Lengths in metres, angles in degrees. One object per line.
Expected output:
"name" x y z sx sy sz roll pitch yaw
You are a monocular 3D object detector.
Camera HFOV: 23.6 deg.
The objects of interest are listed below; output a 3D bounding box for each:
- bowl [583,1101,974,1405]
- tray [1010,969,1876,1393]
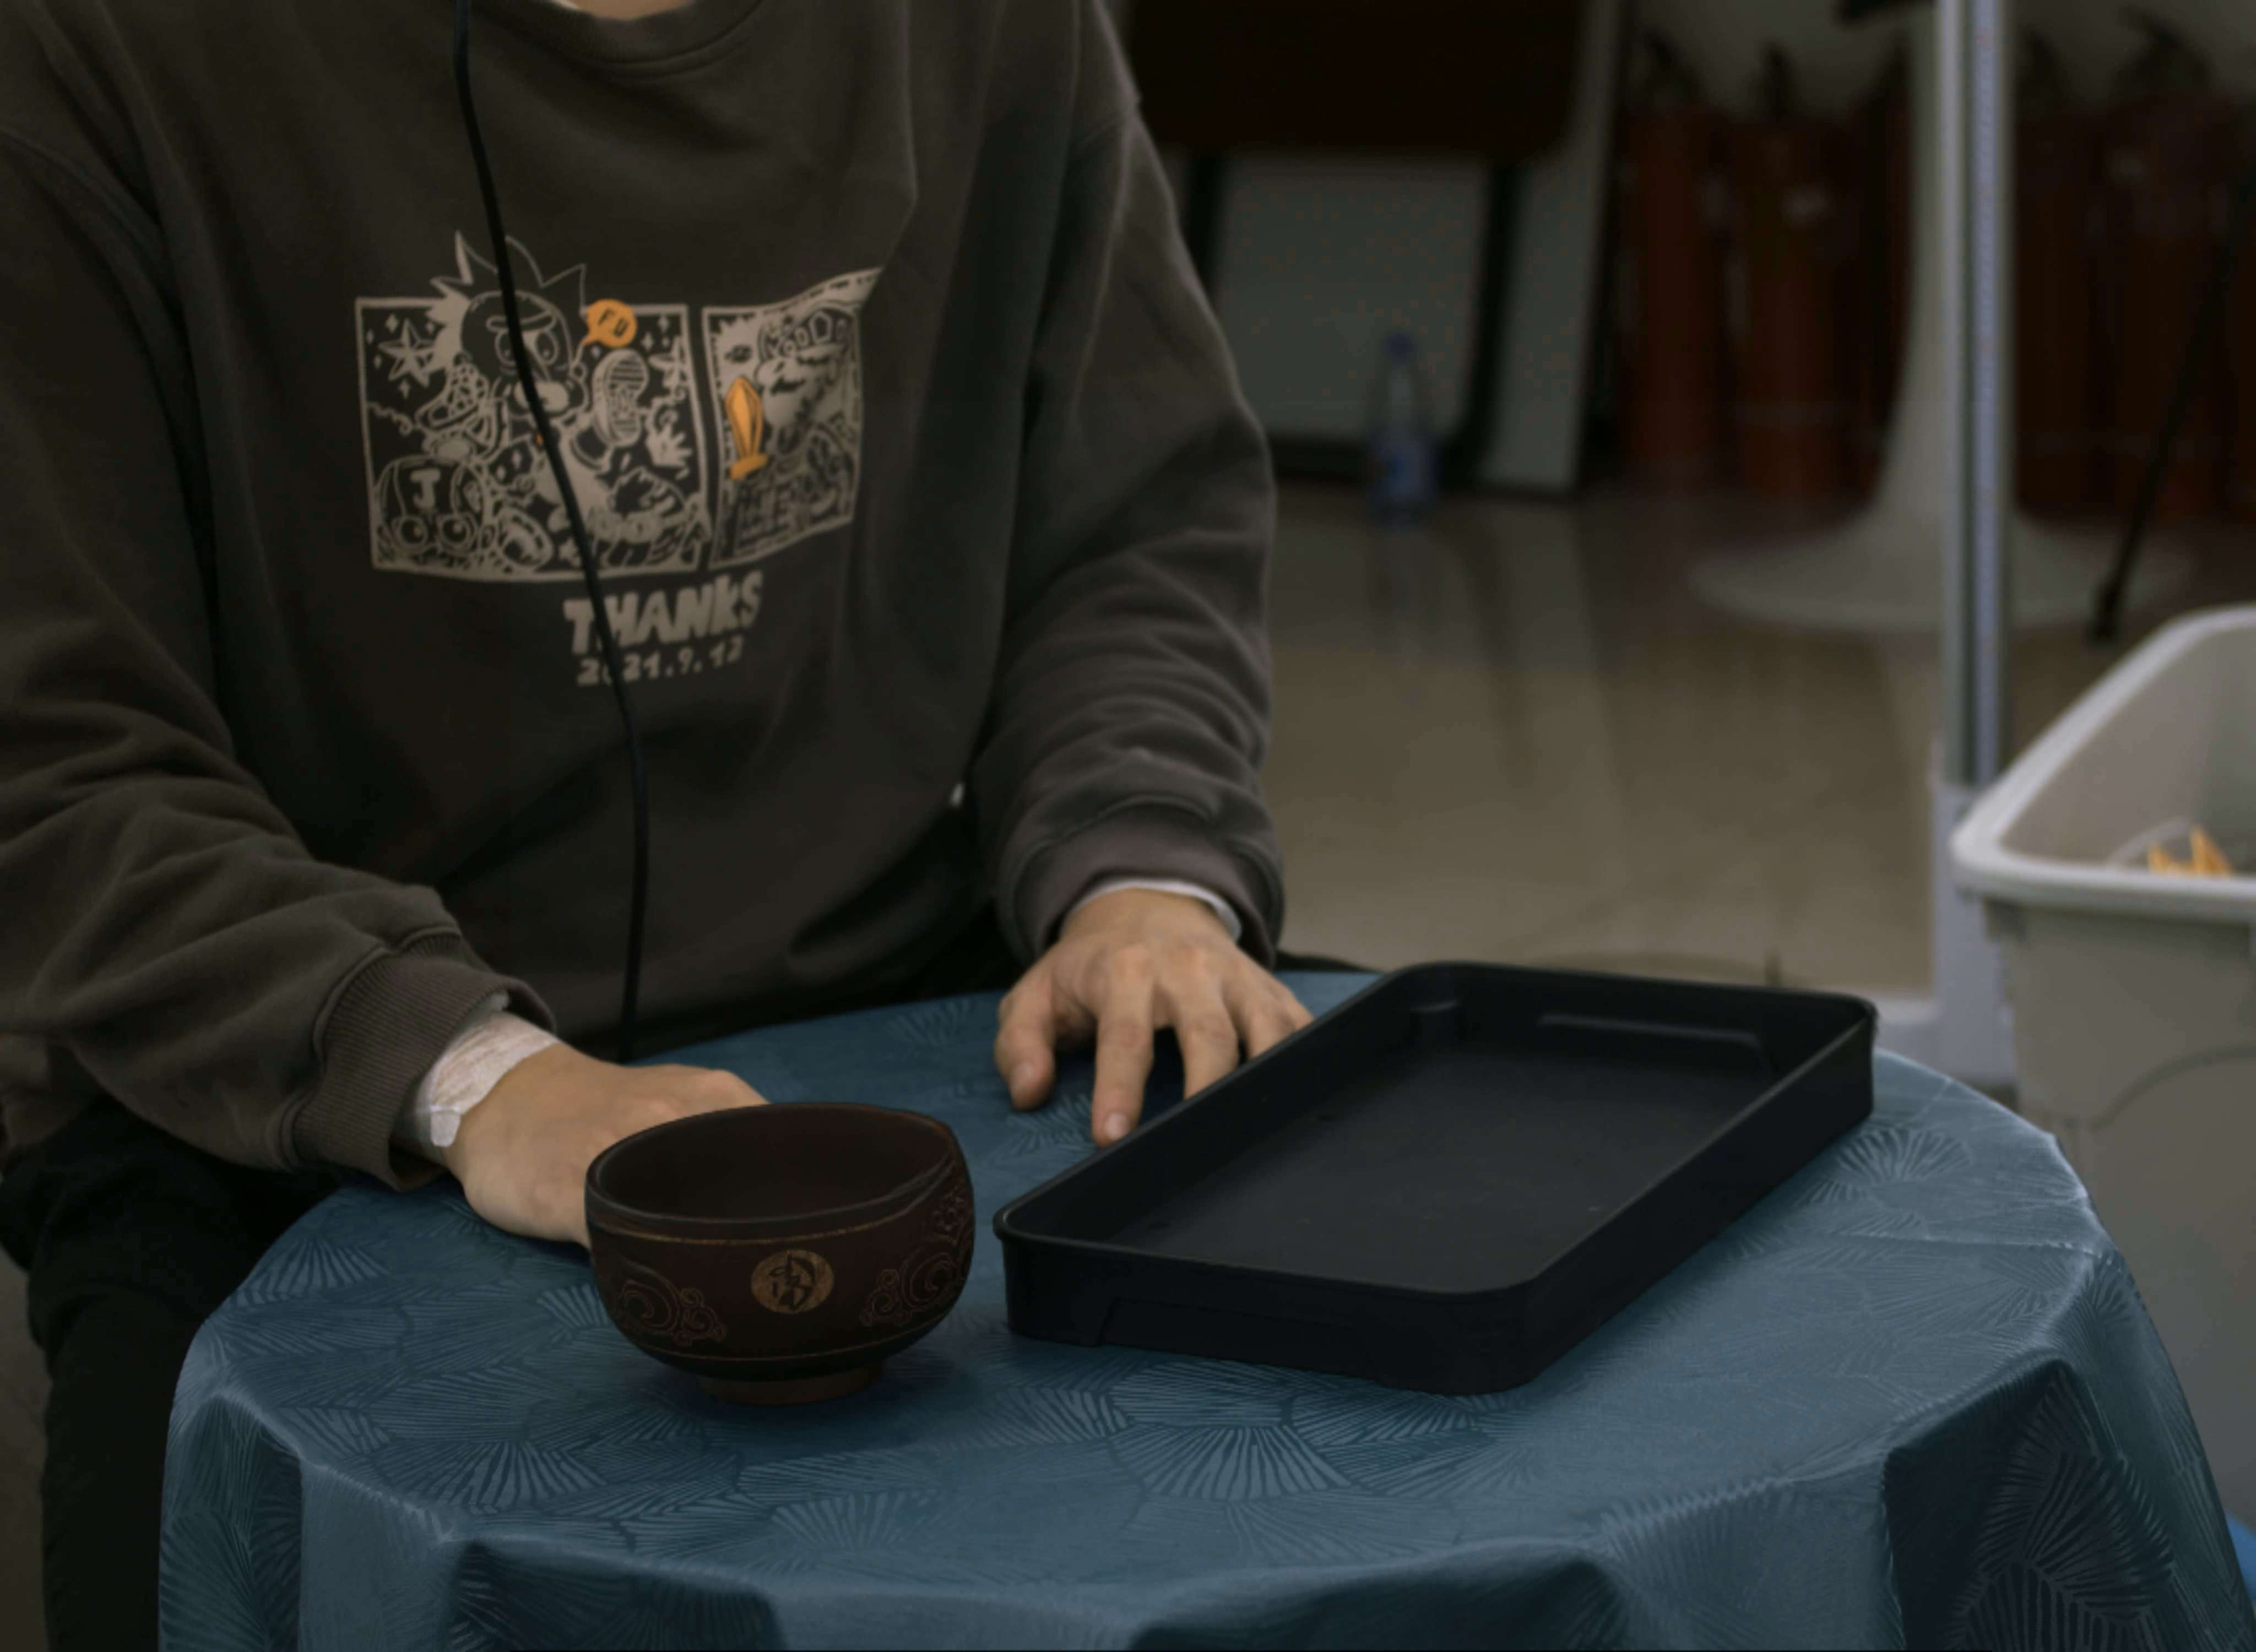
"bowl" -0.103 0.131 1.613 0.116 0.070 0.118 -5 12 0
"tray" 0.109 0.108 1.728 0.185 0.037 0.313 2 15 28
